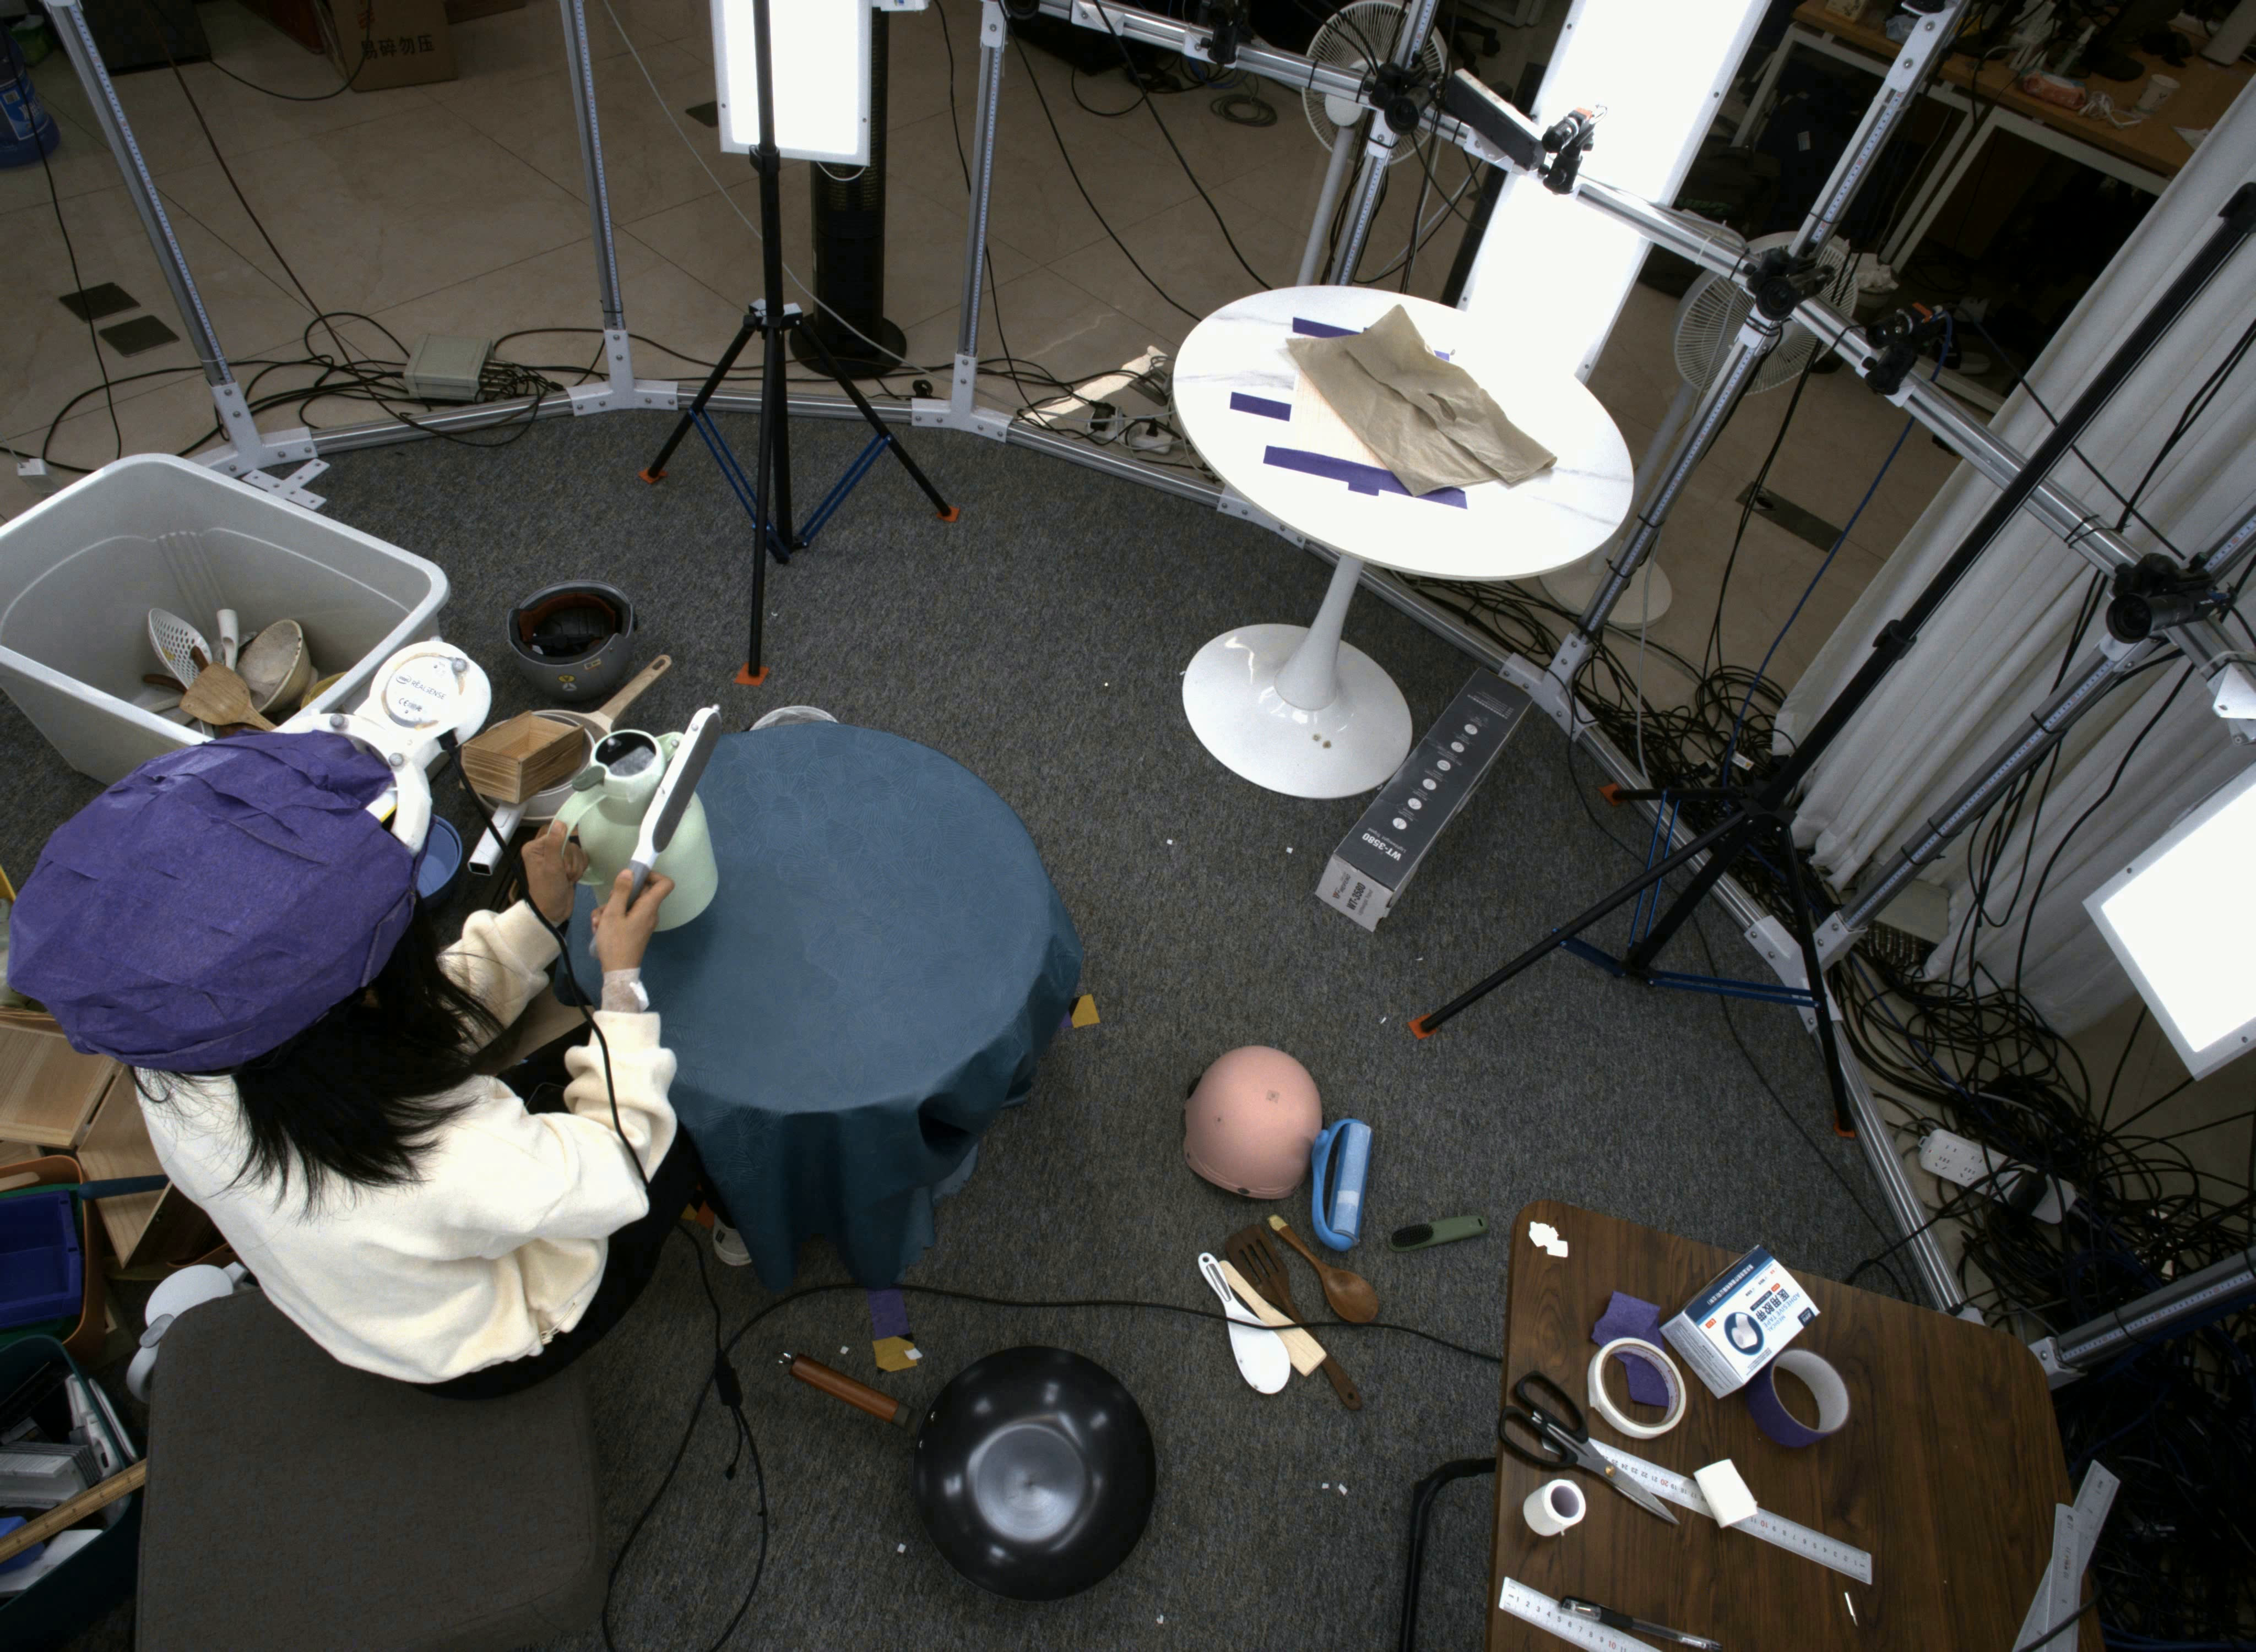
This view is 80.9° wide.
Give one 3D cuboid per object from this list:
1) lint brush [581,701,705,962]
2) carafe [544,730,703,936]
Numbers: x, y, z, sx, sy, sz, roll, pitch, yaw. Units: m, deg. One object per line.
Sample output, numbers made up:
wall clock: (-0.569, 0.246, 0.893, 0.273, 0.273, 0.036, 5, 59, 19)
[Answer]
lint brush: (-0.519, 0.000, 1.369, 0.020, 0.061, 0.307, 15, 66, 4)
carafe: (-0.579, 0.008, 1.446, 0.141, 0.262, 0.187, 37, 59, 17)
